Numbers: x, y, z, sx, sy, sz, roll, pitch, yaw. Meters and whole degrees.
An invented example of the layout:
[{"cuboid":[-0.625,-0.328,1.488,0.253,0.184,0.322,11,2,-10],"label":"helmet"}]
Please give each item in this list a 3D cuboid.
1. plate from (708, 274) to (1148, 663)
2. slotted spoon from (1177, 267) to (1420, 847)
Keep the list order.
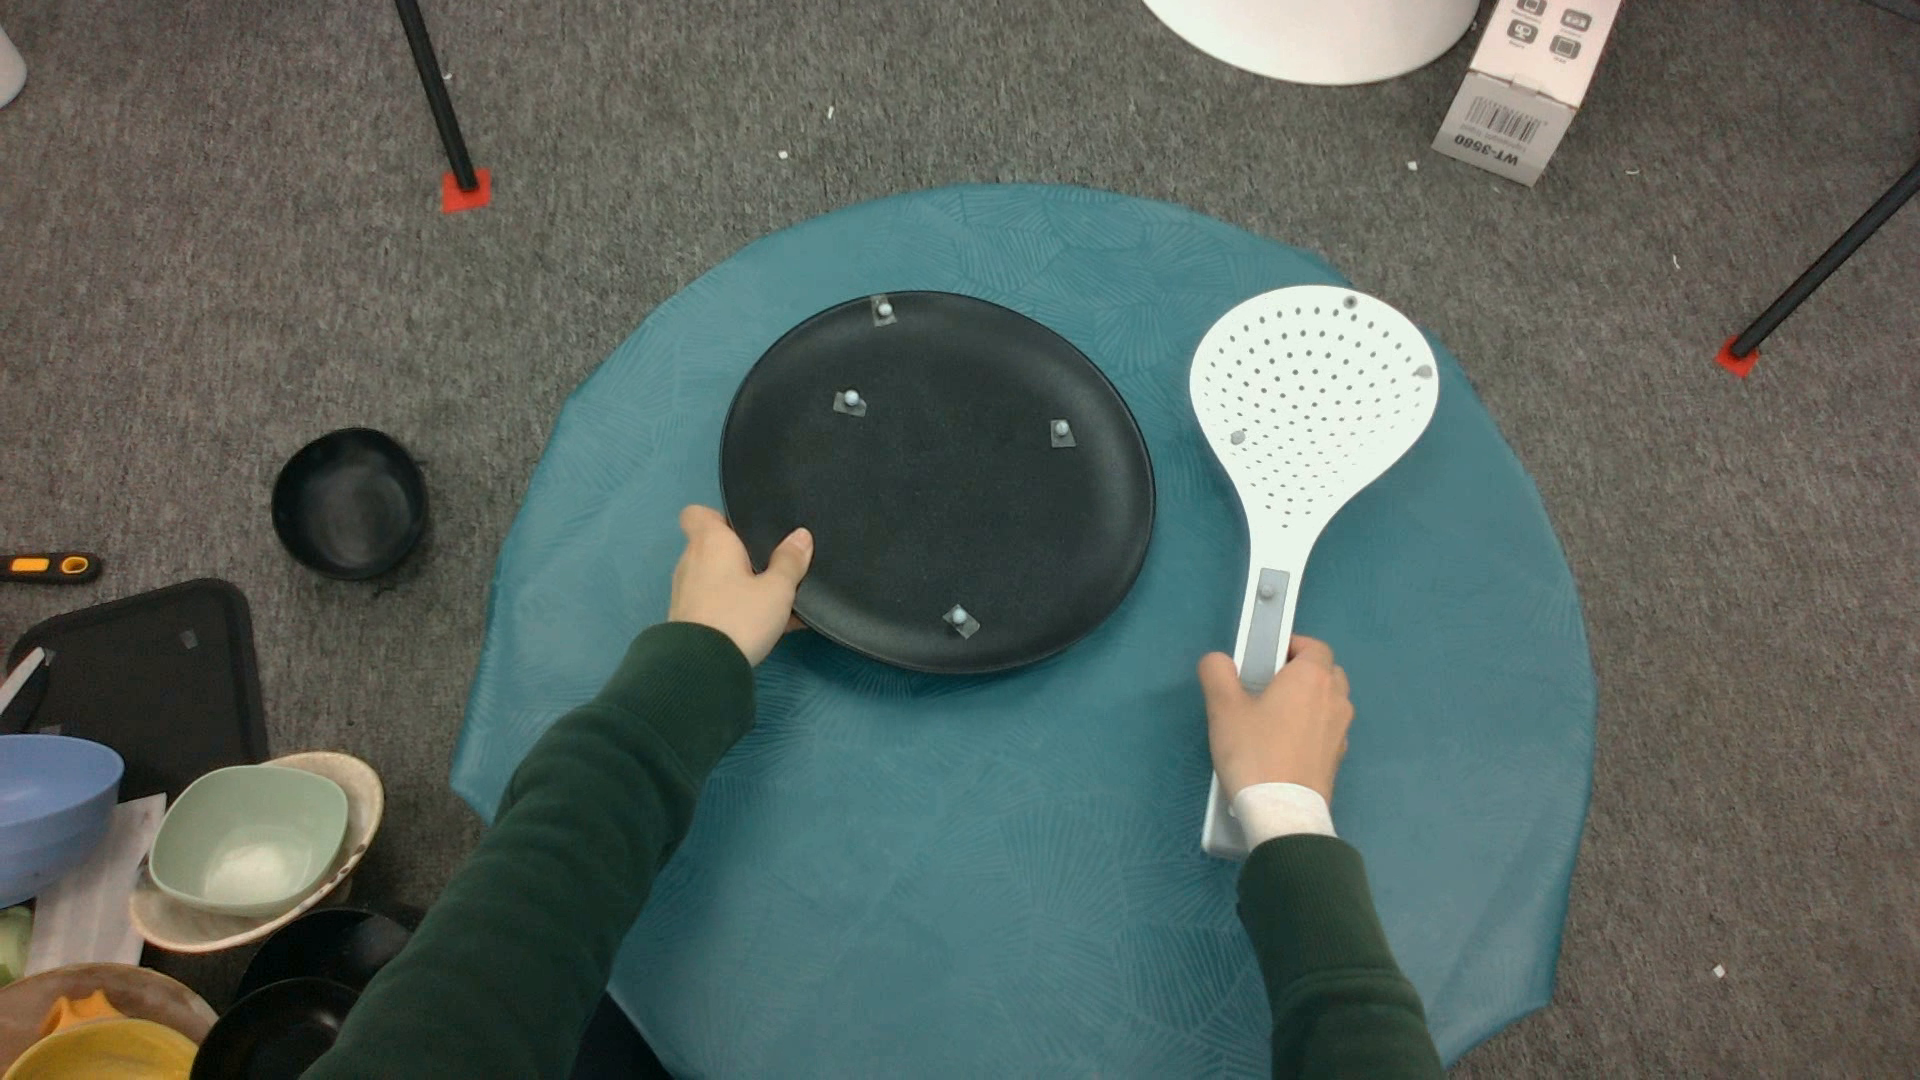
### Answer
[{"cuboid":[-0.016,-0.043,0.759,0.244,0.023,0.245,5,62,-10],"label":"plate"},{"cuboid":[0.169,-0.005,0.743,0.136,0.045,0.351,5,57,19],"label":"slotted spoon"}]
